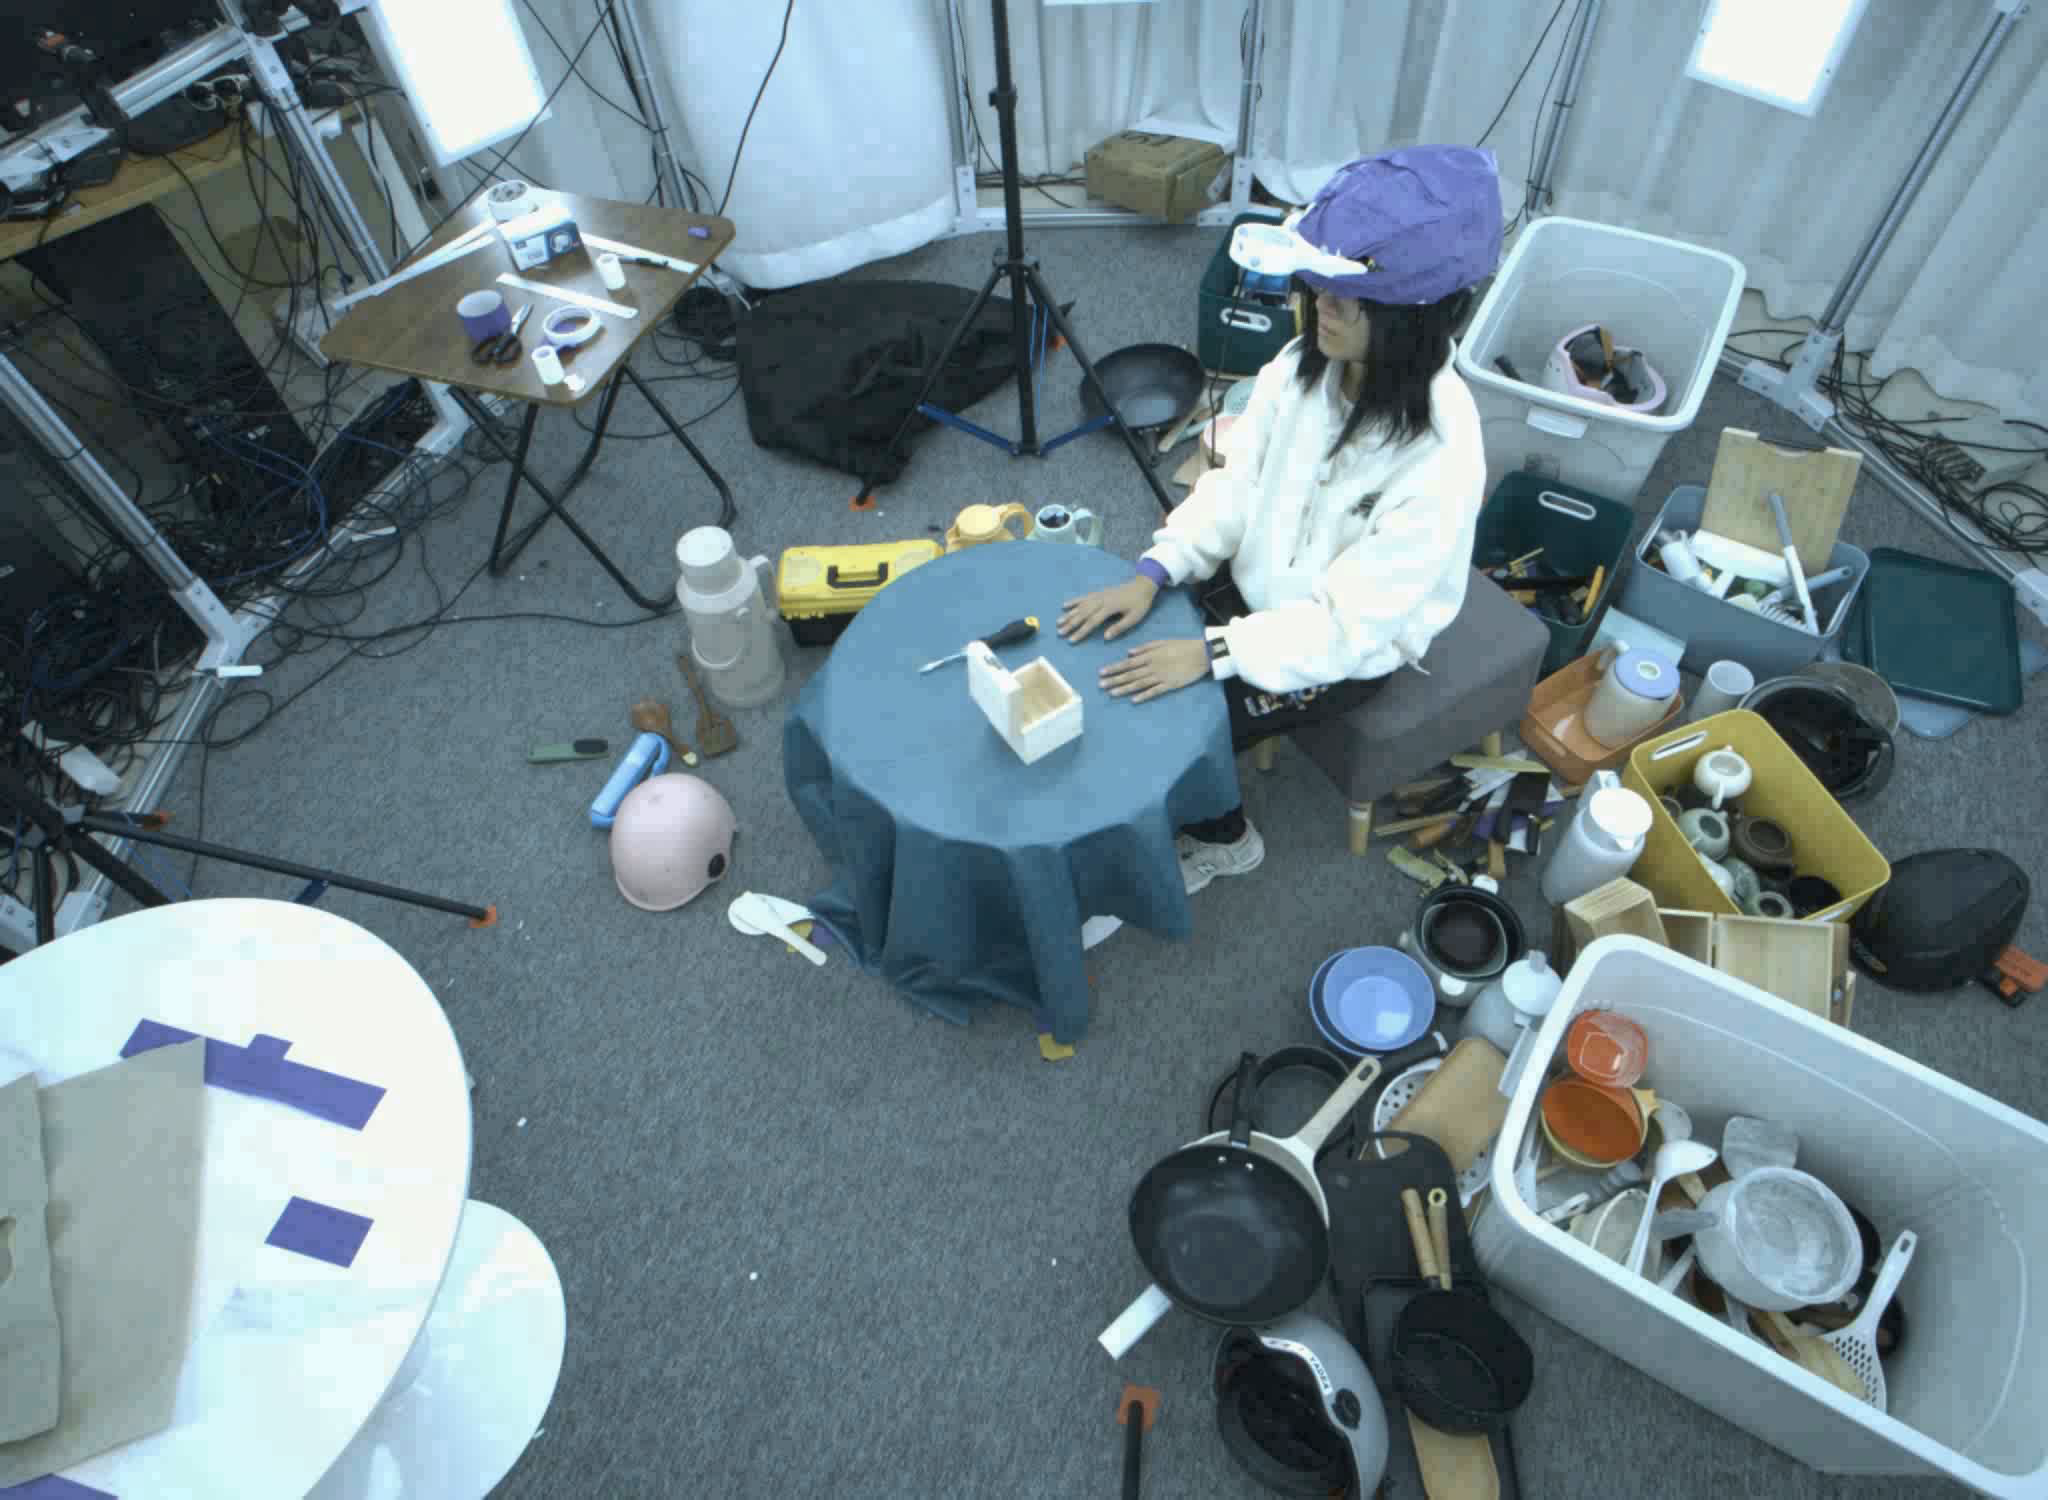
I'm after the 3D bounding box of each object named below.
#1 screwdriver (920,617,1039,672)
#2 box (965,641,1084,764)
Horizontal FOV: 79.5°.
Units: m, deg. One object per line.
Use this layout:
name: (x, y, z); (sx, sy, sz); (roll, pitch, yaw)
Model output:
screwdriver: (-0.070, -0.163, 1.891); (0.199, 0.032, 0.031); (-20, 57, -9)
box: (0.004, -0.083, 1.734); (0.135, 0.187, 0.100); (-31, 58, -16)
